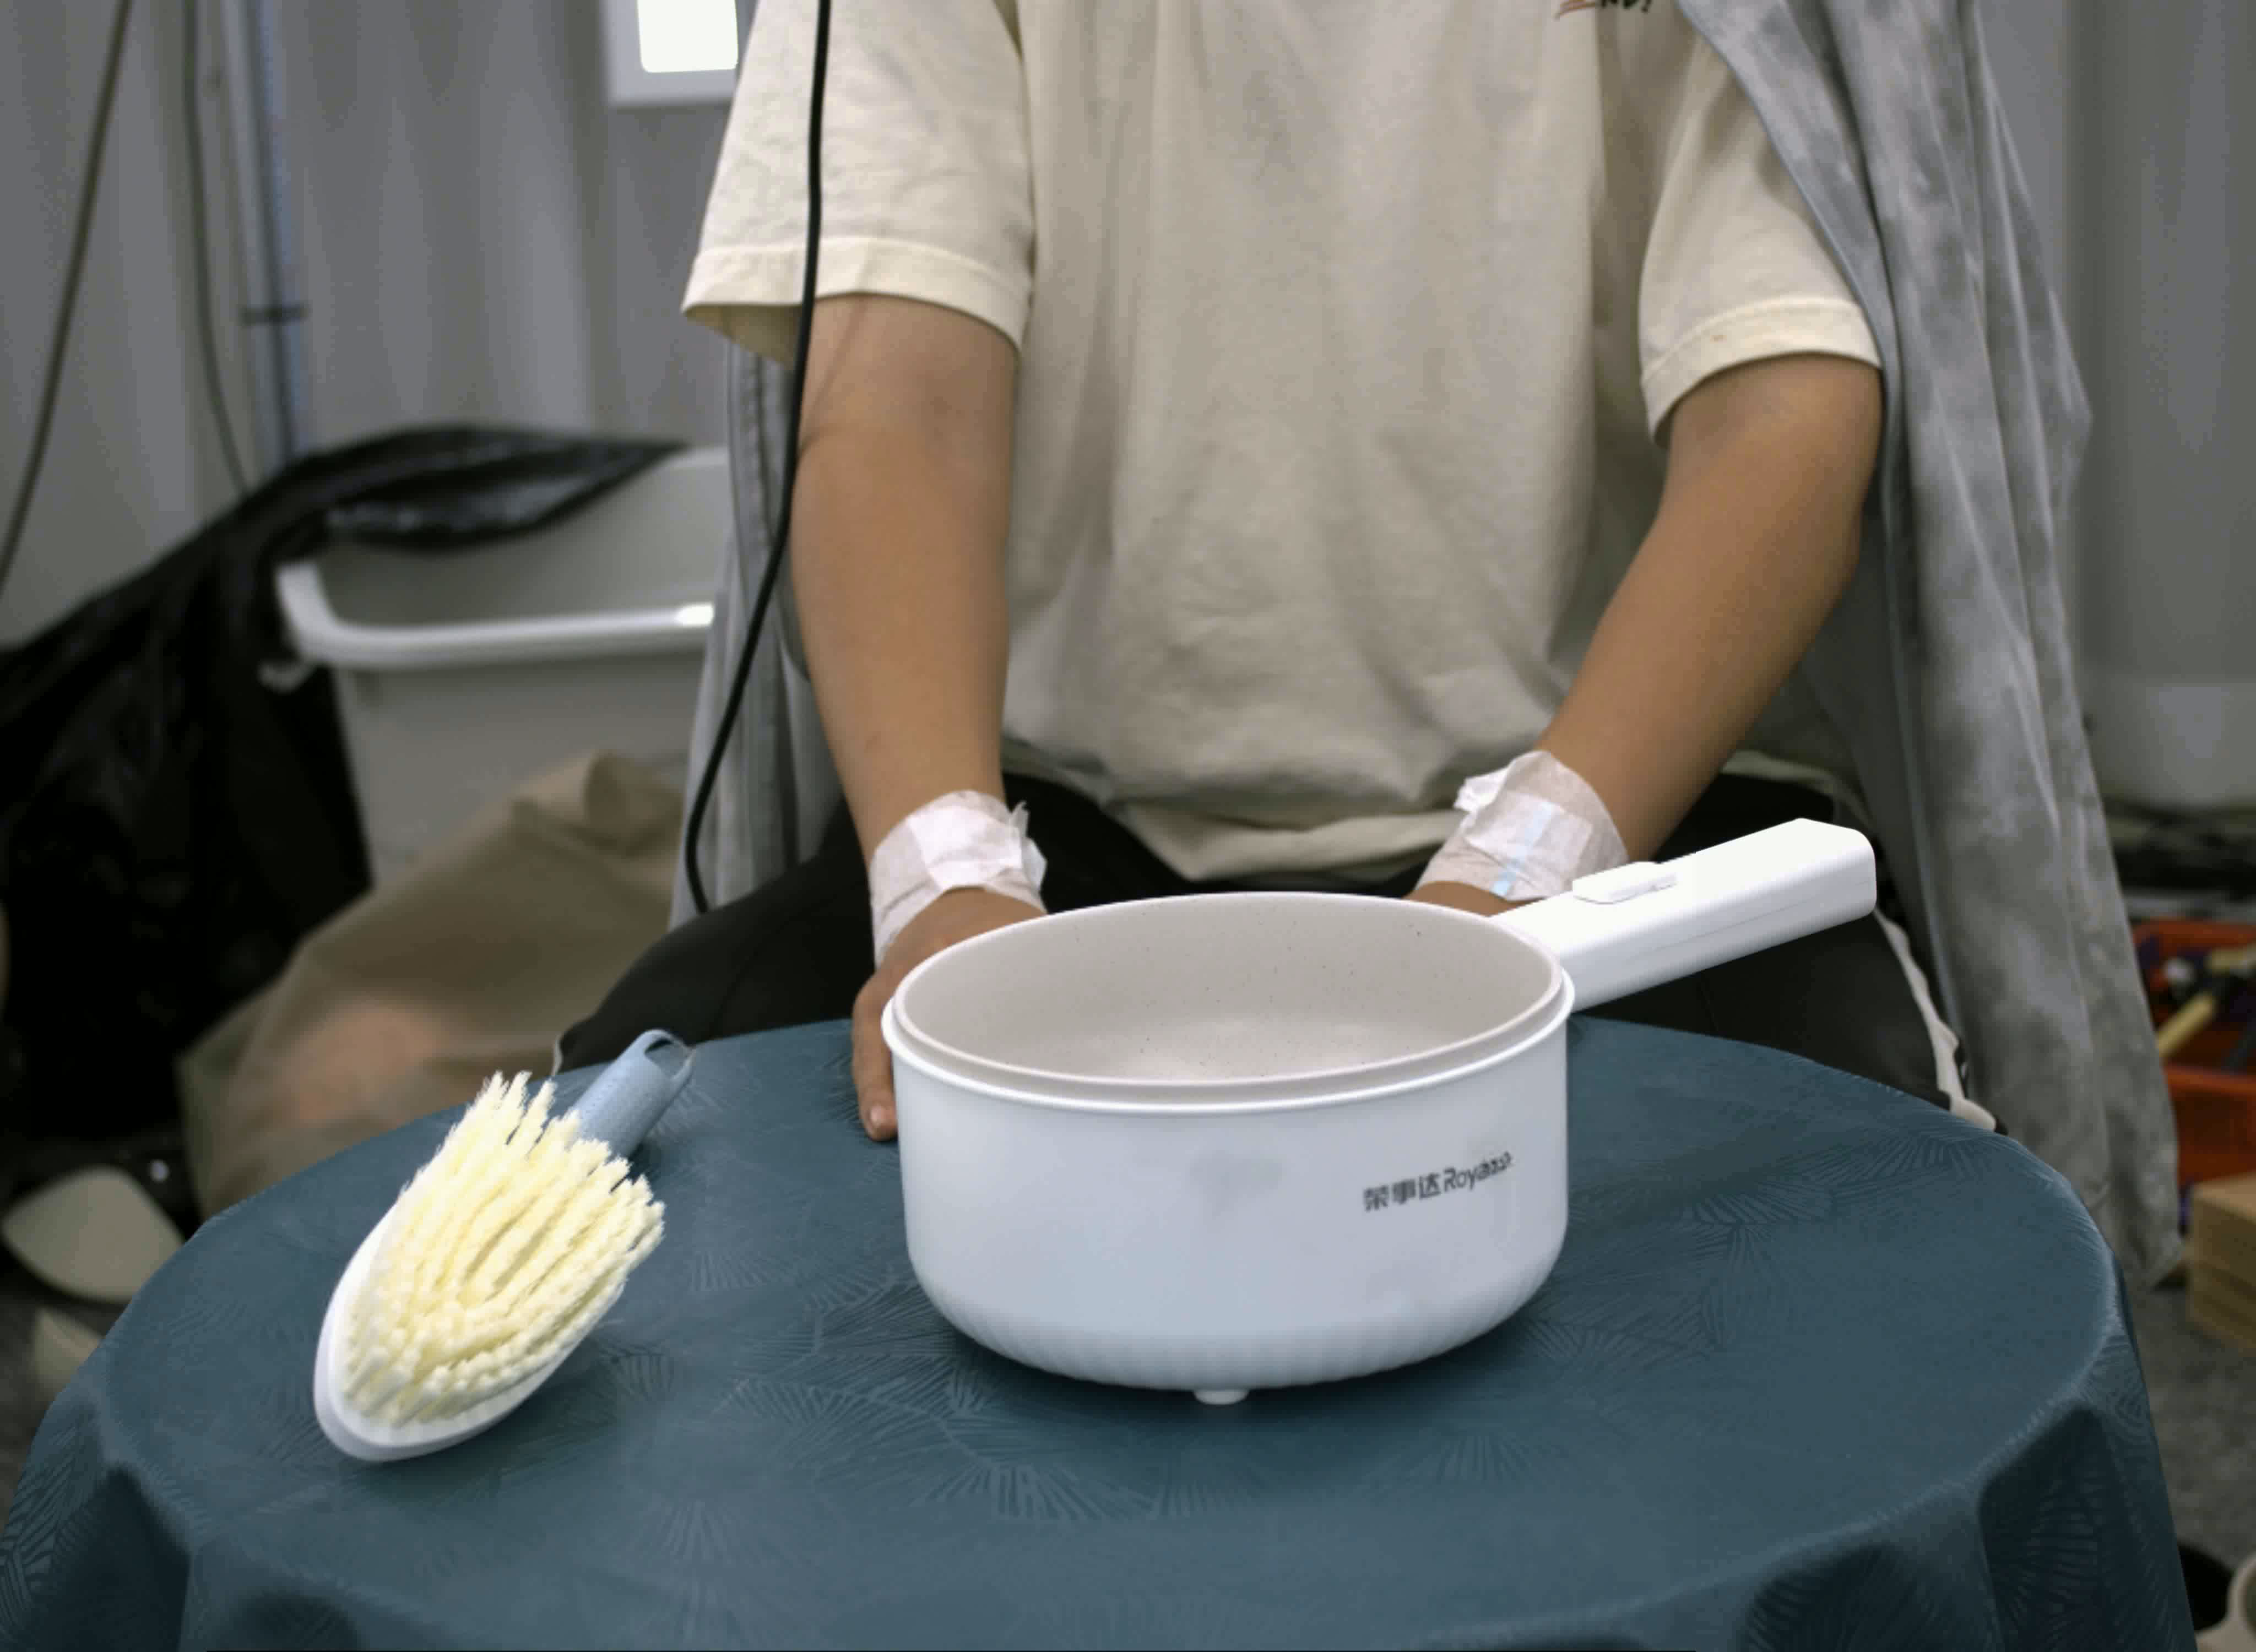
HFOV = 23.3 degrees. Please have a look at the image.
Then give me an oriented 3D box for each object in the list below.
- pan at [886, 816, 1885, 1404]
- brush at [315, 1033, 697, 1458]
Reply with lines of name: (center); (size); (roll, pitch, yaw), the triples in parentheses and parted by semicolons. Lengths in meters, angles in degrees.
pan: (0.090, 0.078, 1.643); (0.354, 0.101, 0.202); (-14, 18, -37)
brush: (-0.166, 0.098, 1.653); (0.084, 0.083, 0.327); (-7, 15, 14)
